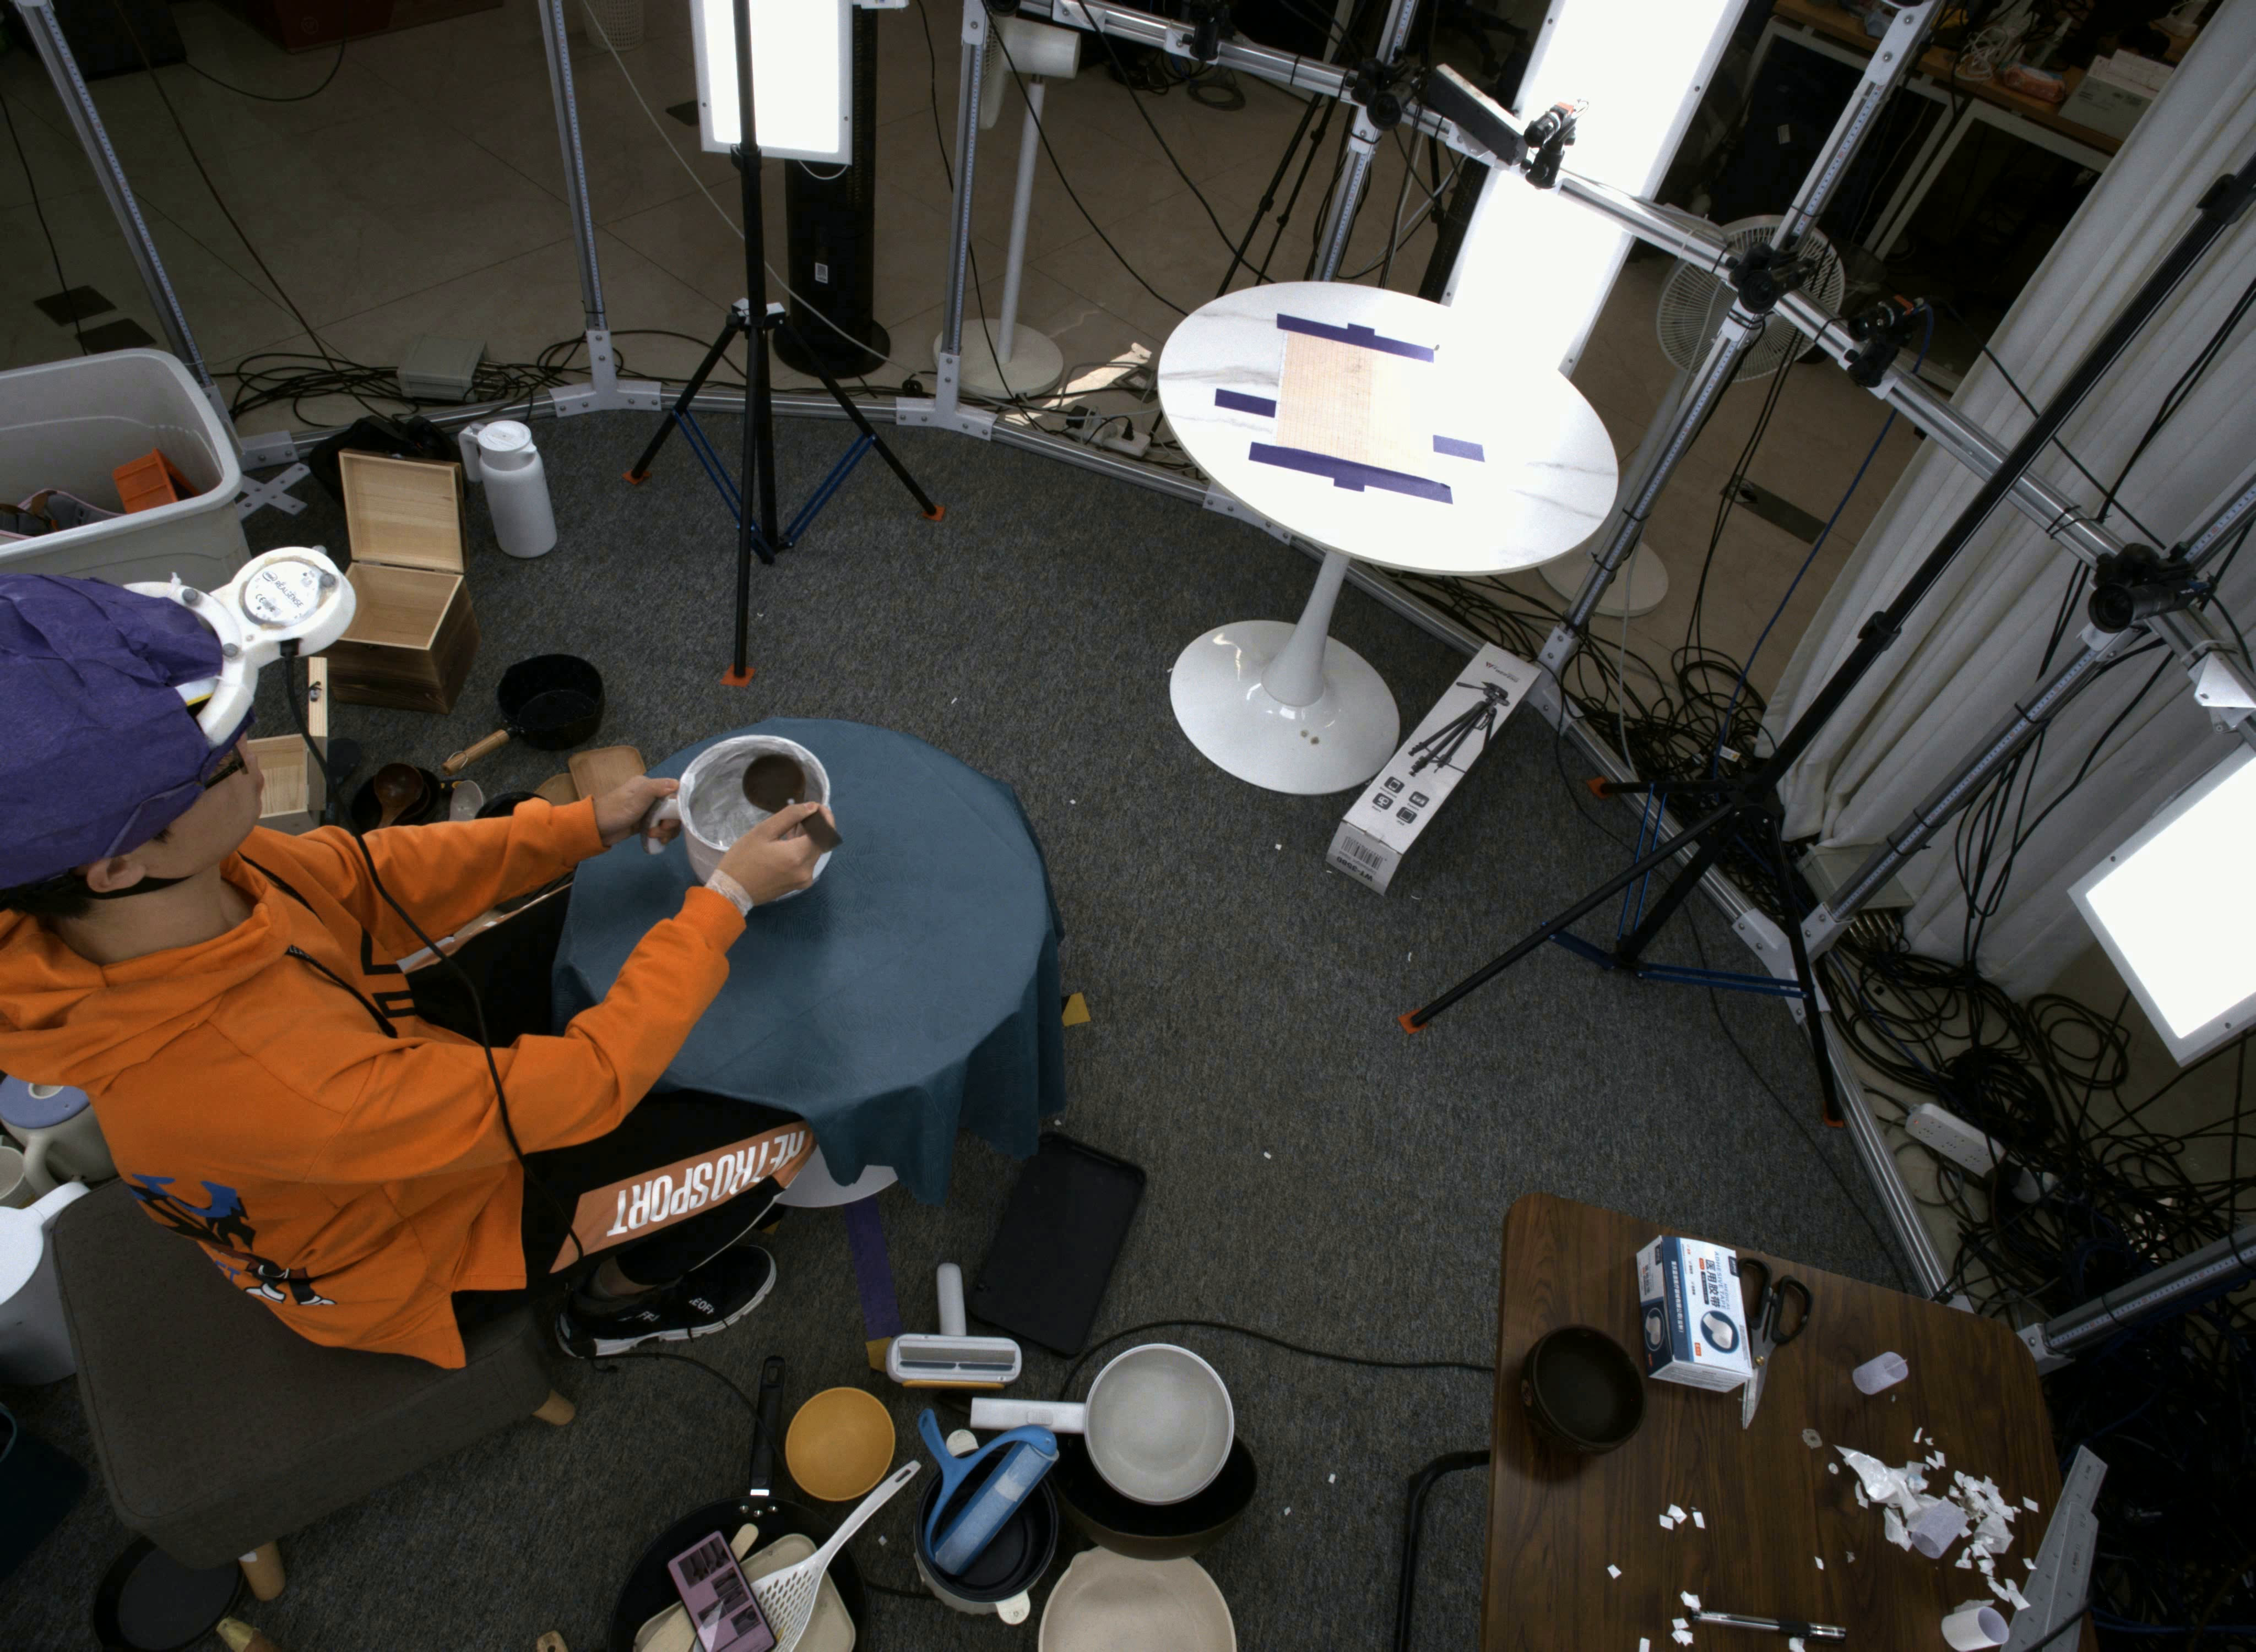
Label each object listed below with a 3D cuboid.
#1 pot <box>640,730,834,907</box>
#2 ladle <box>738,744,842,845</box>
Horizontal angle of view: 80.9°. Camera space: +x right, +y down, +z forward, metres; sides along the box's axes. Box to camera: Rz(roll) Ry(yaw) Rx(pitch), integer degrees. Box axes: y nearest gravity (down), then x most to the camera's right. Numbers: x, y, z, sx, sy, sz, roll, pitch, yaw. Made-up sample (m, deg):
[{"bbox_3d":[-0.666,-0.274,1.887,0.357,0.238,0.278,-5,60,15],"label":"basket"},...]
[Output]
[{"bbox_3d":[-0.471,-0.005,1.547,0.233,0.139,0.175,-1,55,-11],"label":"pot"},{"bbox_3d":[-0.372,-0.040,1.425,0.076,0.073,0.265,-34,23,-16],"label":"ladle"}]
